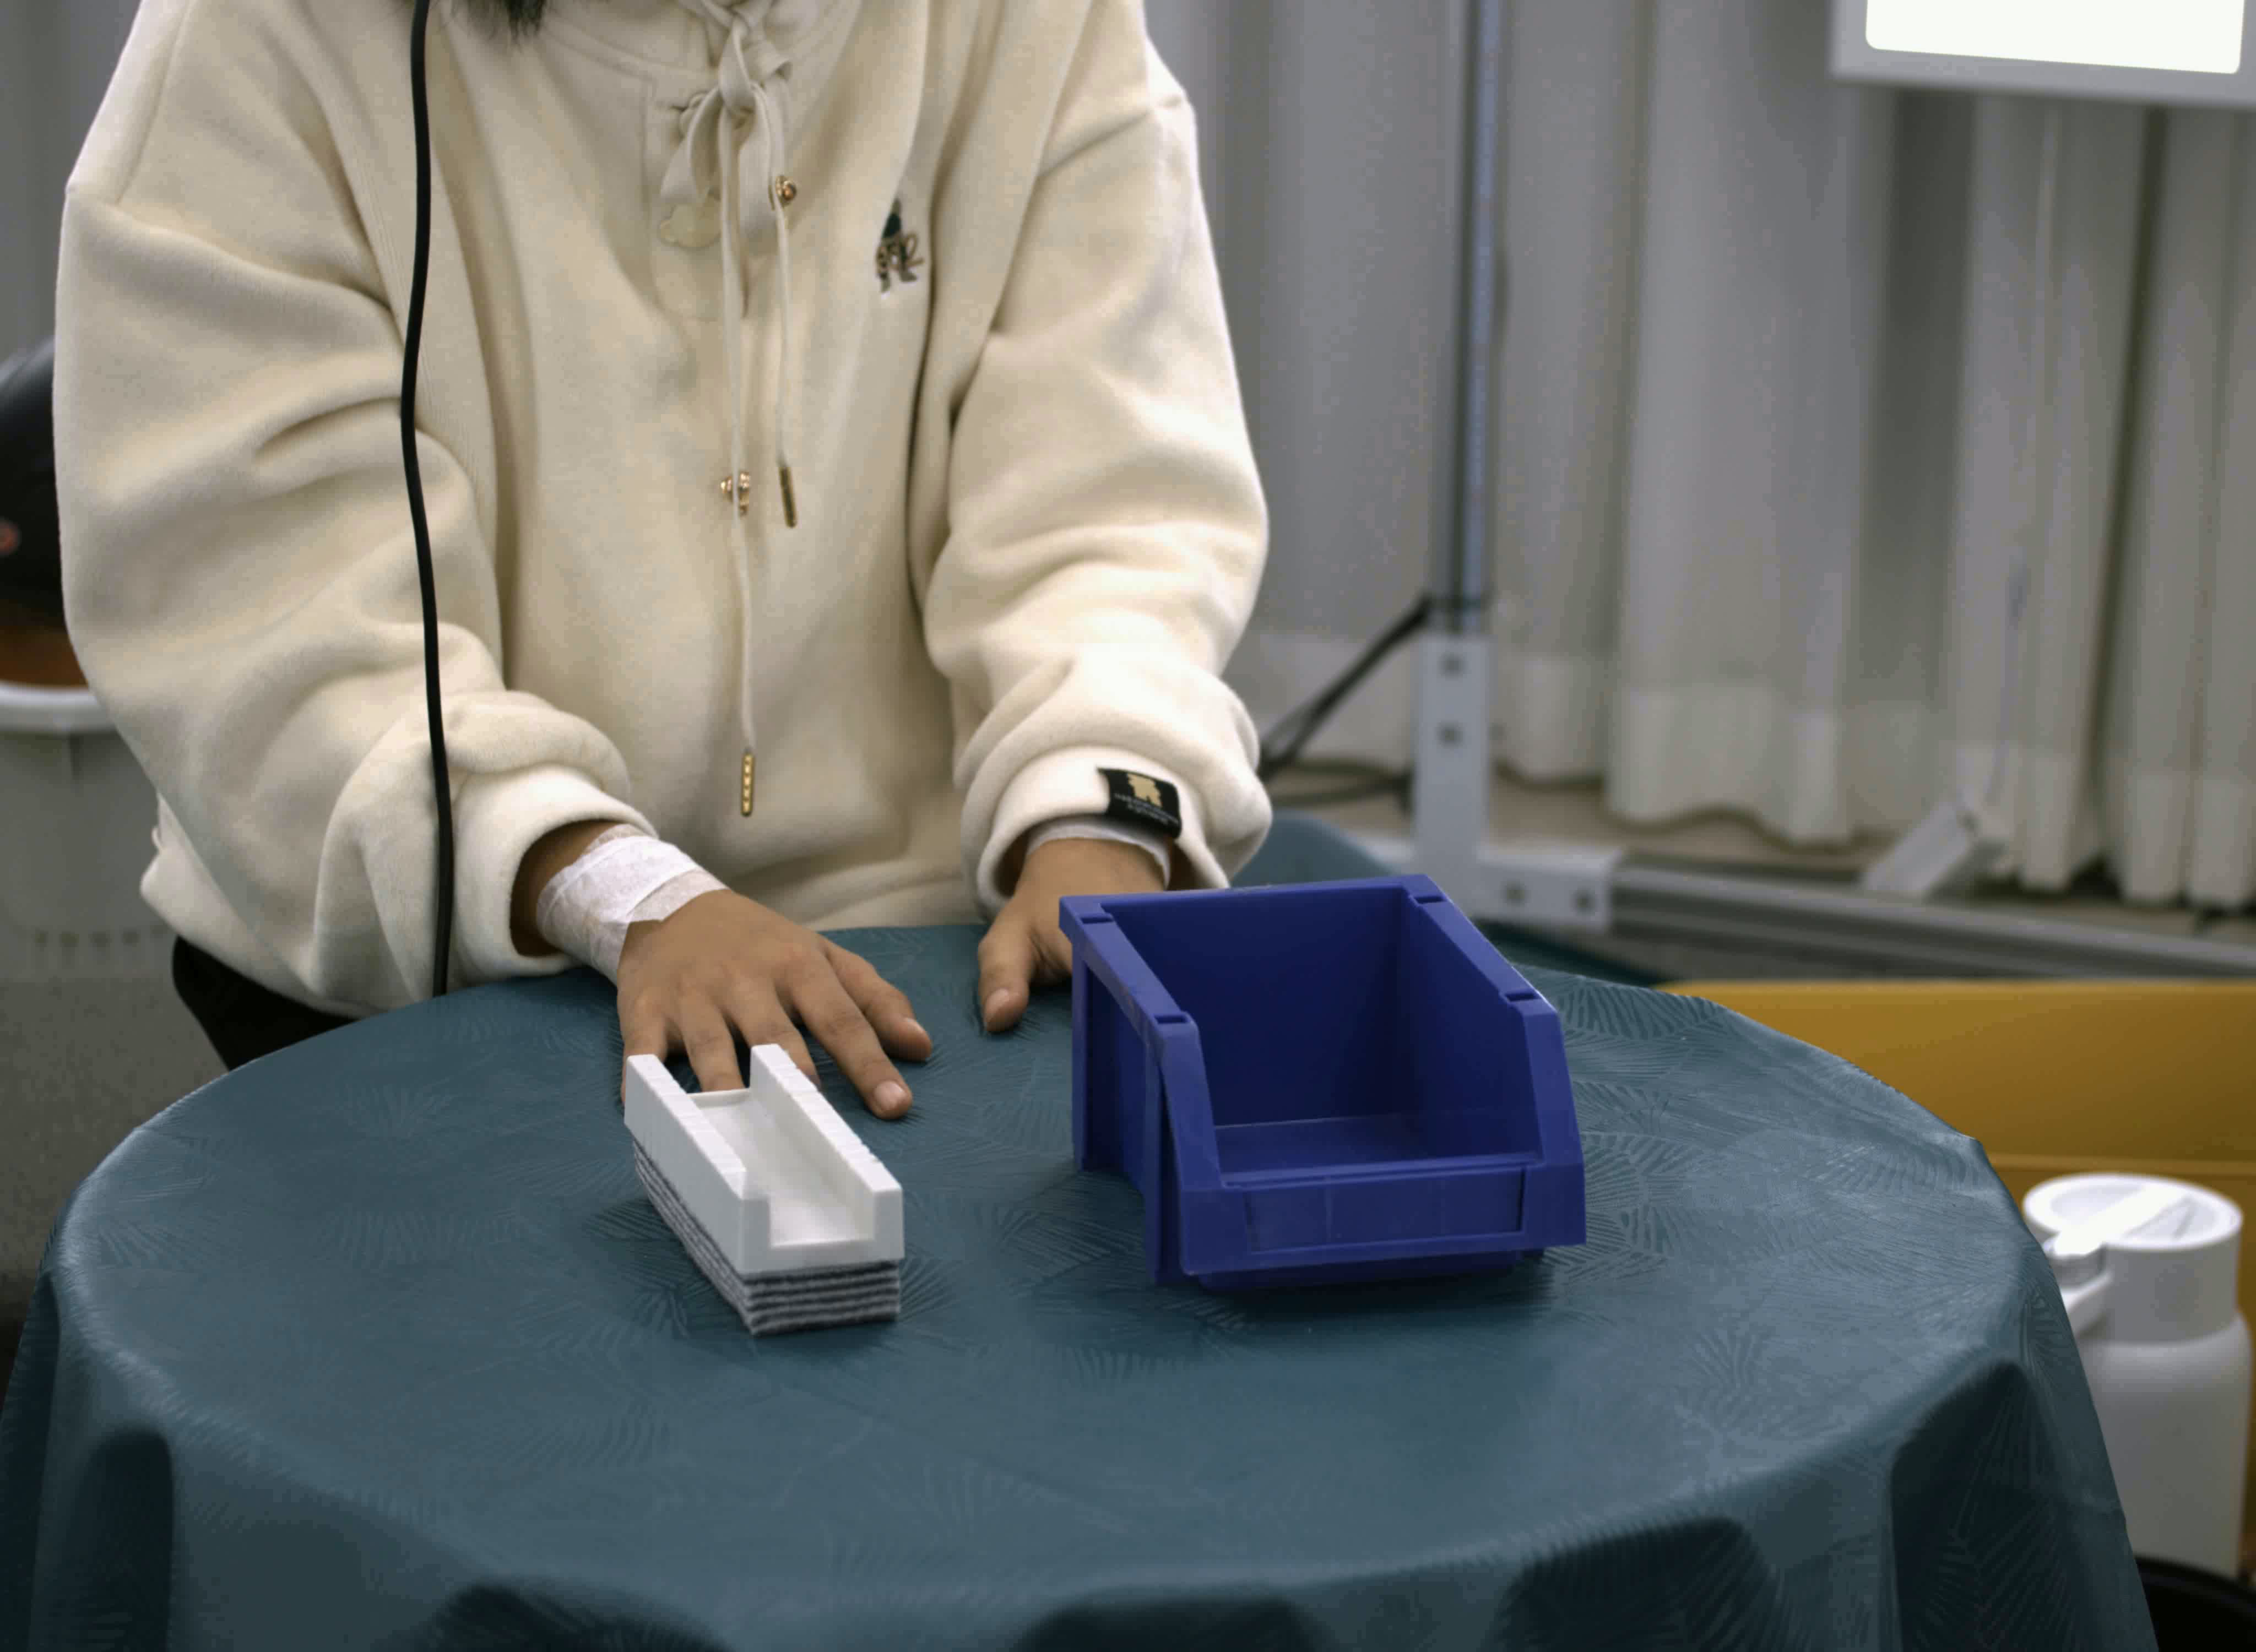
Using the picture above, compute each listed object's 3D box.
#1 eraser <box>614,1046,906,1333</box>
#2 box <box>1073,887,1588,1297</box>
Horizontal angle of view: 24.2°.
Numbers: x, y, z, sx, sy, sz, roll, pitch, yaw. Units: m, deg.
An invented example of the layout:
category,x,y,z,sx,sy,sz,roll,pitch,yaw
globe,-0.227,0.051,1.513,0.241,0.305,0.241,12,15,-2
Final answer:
category,x,y,z,sx,sy,sz,roll,pitch,yaw
eraser,-0.110,0.106,1.554,0.050,0.047,0.133,-7,19,-20
box,0.060,0.082,1.580,0.124,0.082,0.178,-3,14,-10
